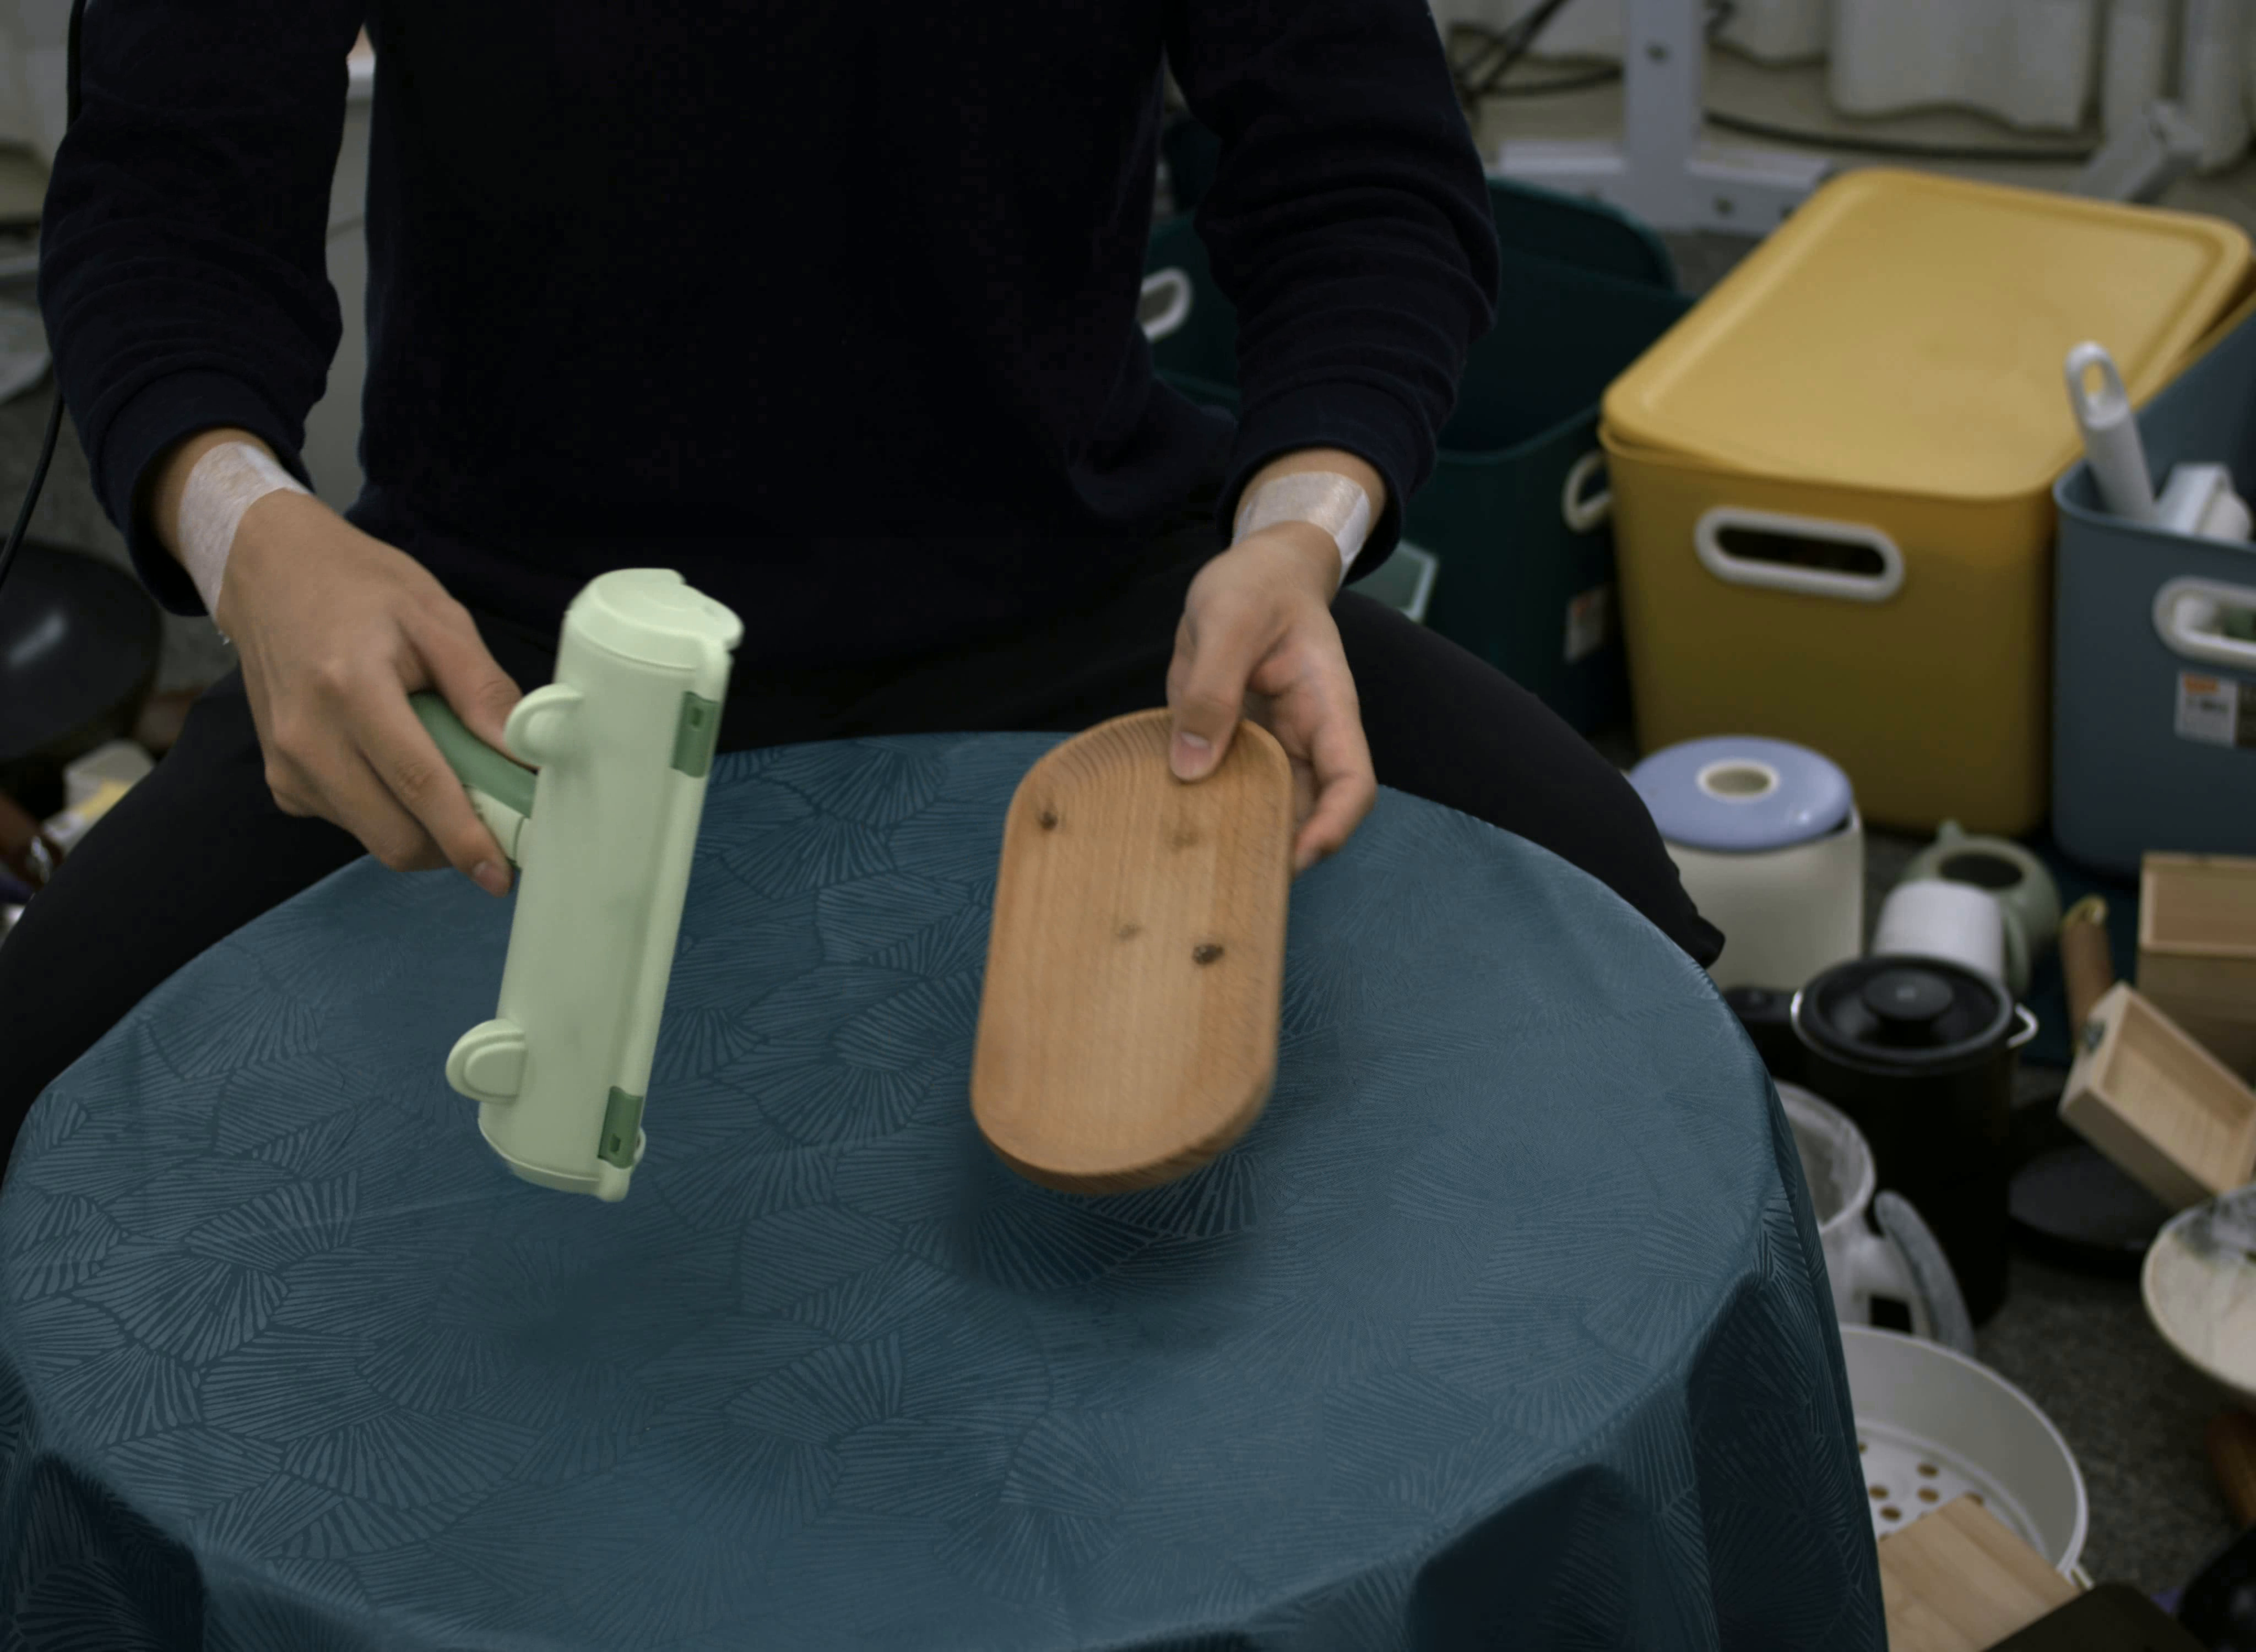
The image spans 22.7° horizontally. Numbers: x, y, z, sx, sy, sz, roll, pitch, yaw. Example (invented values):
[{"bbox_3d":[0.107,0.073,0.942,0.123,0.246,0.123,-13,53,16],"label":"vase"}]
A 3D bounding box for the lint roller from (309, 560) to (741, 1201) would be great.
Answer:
[{"bbox_3d":[-0.209,-0.003,1.765,0.183,0.197,0.083,25,23,28],"label":"lint roller"}]

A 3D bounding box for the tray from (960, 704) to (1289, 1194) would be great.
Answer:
[{"bbox_3d":[0.001,0.038,1.863,0.101,0.020,0.236,-8,40,12],"label":"tray"}]
